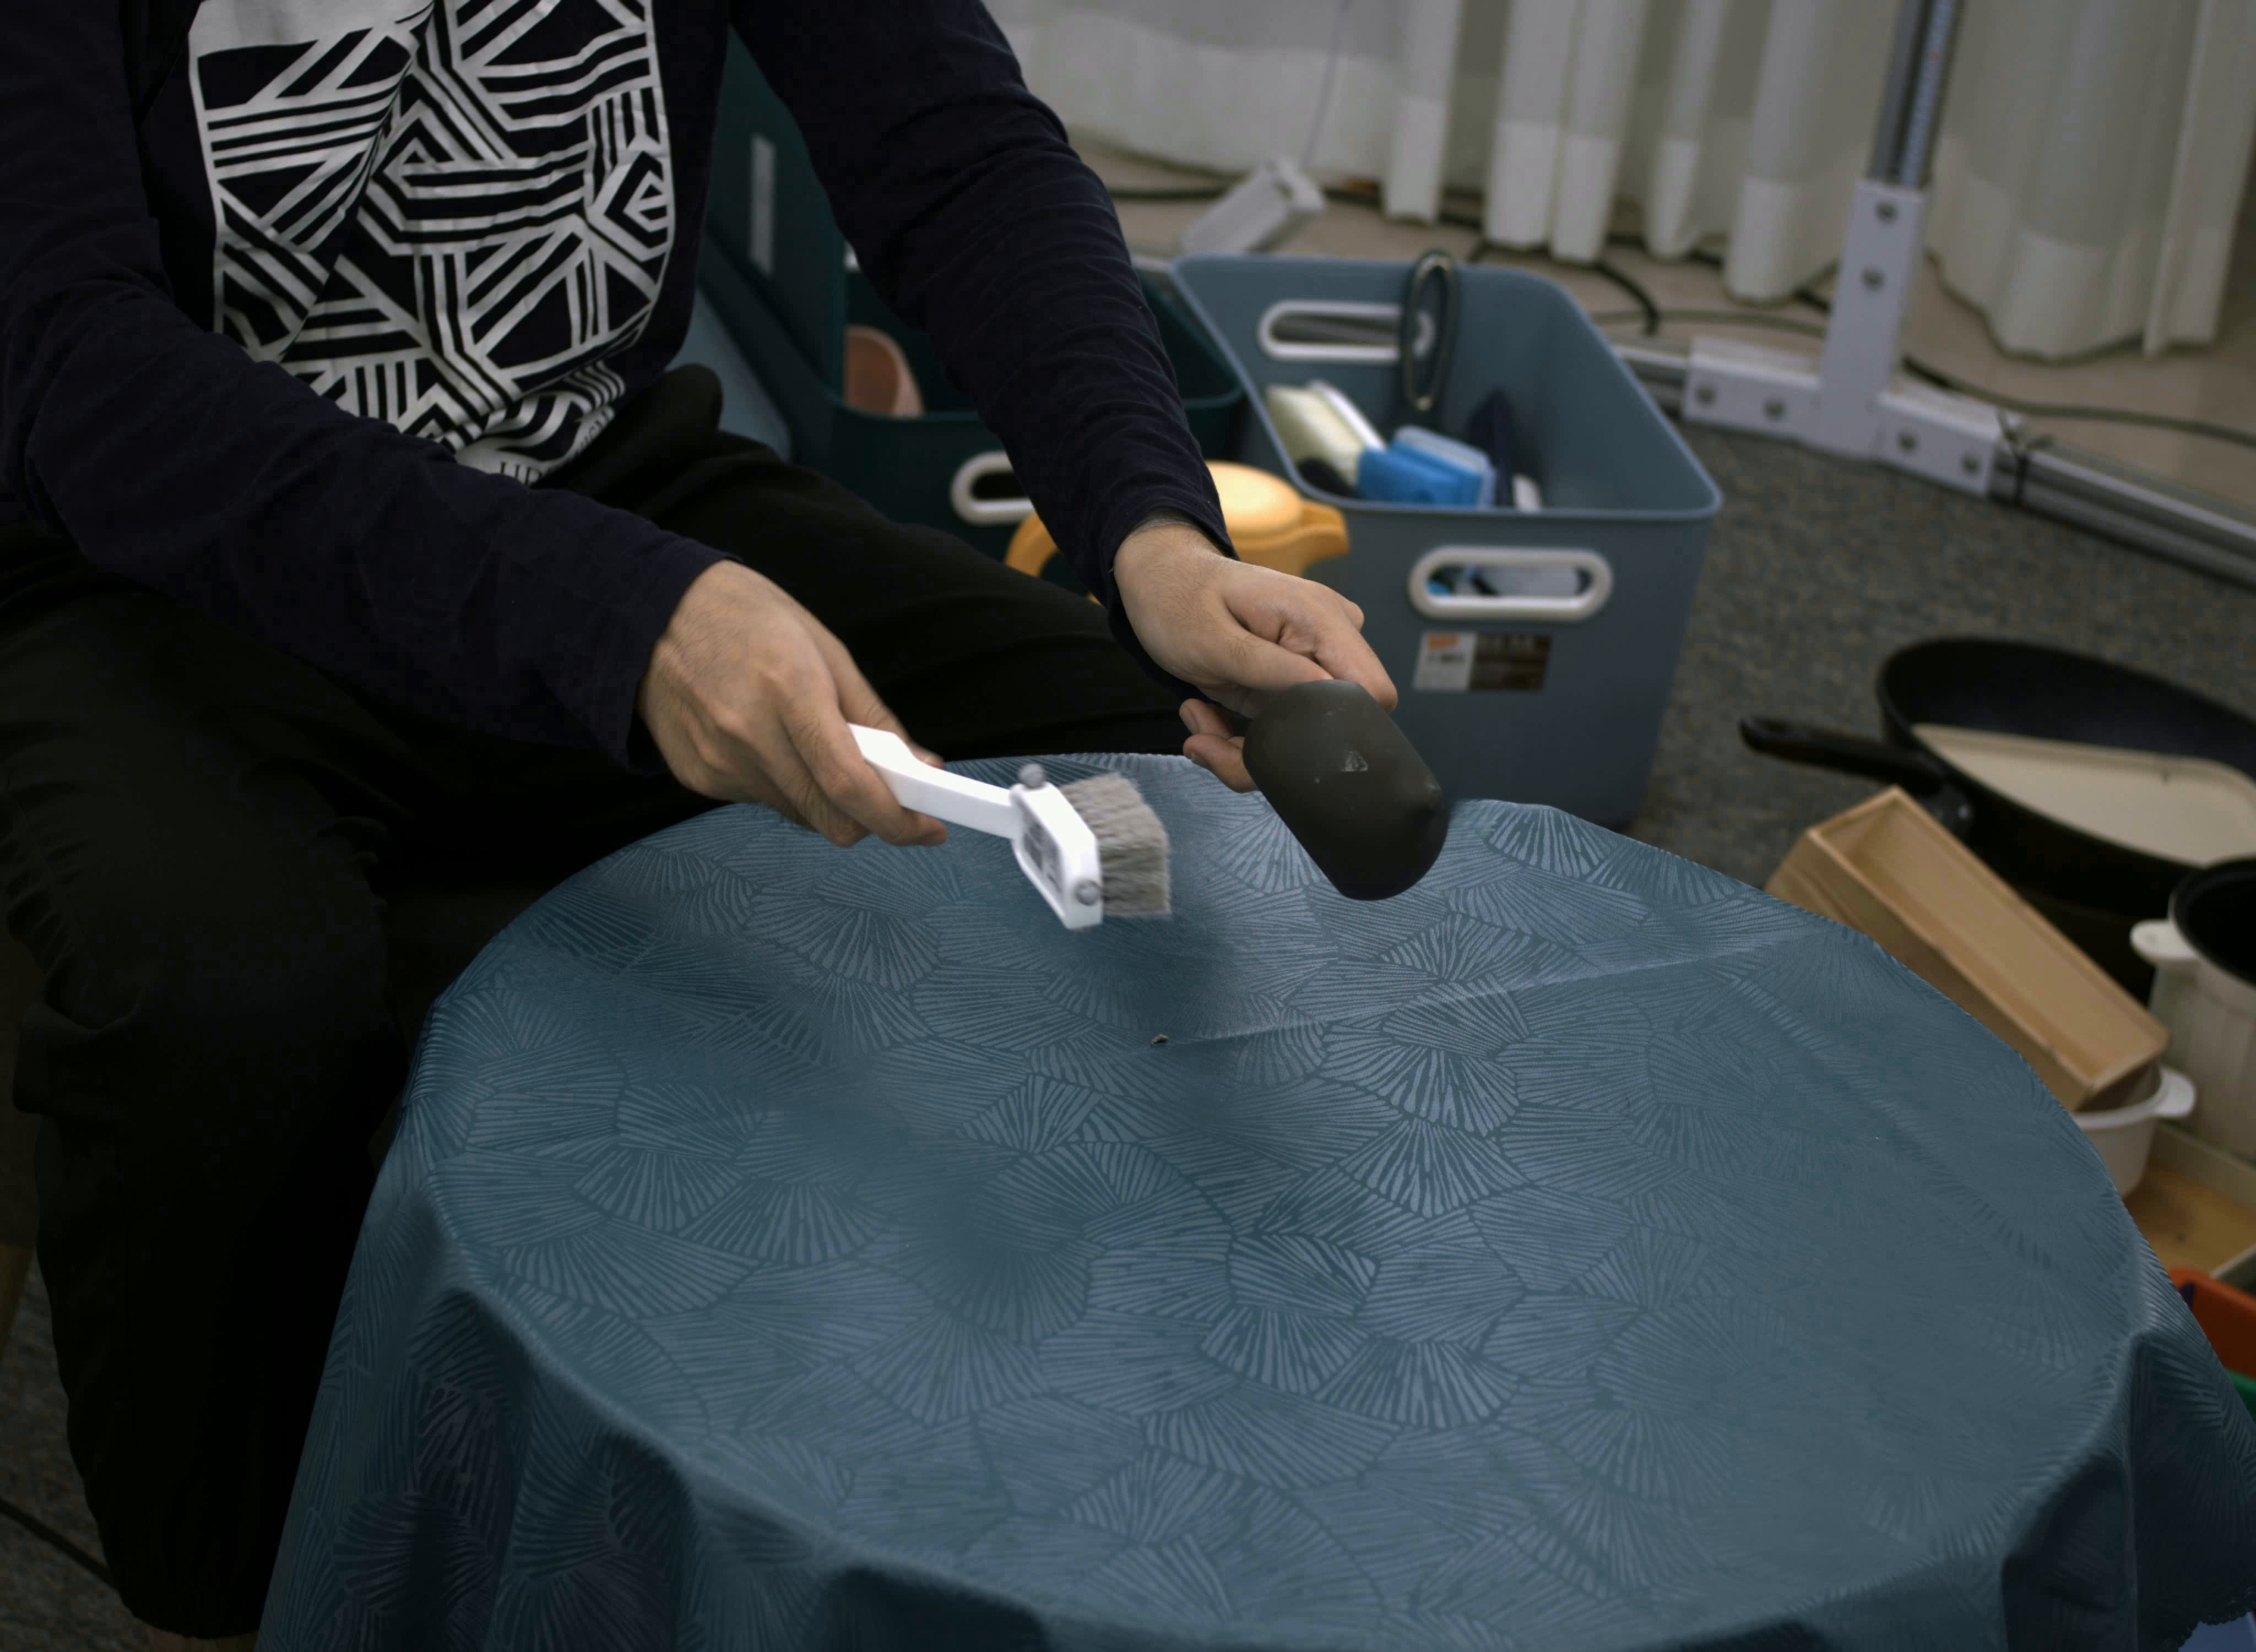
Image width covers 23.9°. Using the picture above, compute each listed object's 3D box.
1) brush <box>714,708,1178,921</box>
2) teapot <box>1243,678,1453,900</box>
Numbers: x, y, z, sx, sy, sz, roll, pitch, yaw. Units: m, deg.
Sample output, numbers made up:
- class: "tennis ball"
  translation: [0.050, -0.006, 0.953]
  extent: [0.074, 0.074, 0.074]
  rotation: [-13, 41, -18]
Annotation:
- class: "brush"
  translation: [-0.062, -0.010, 1.852]
  extent: [0.050, 0.034, 0.245]
  rotation: [-12, 19, -35]
- class: "teapot"
  translation: [0.075, -0.019, 1.877]
  extent: [0.053, 0.082, 0.115]
  rotation: [-38, 29, 1]
